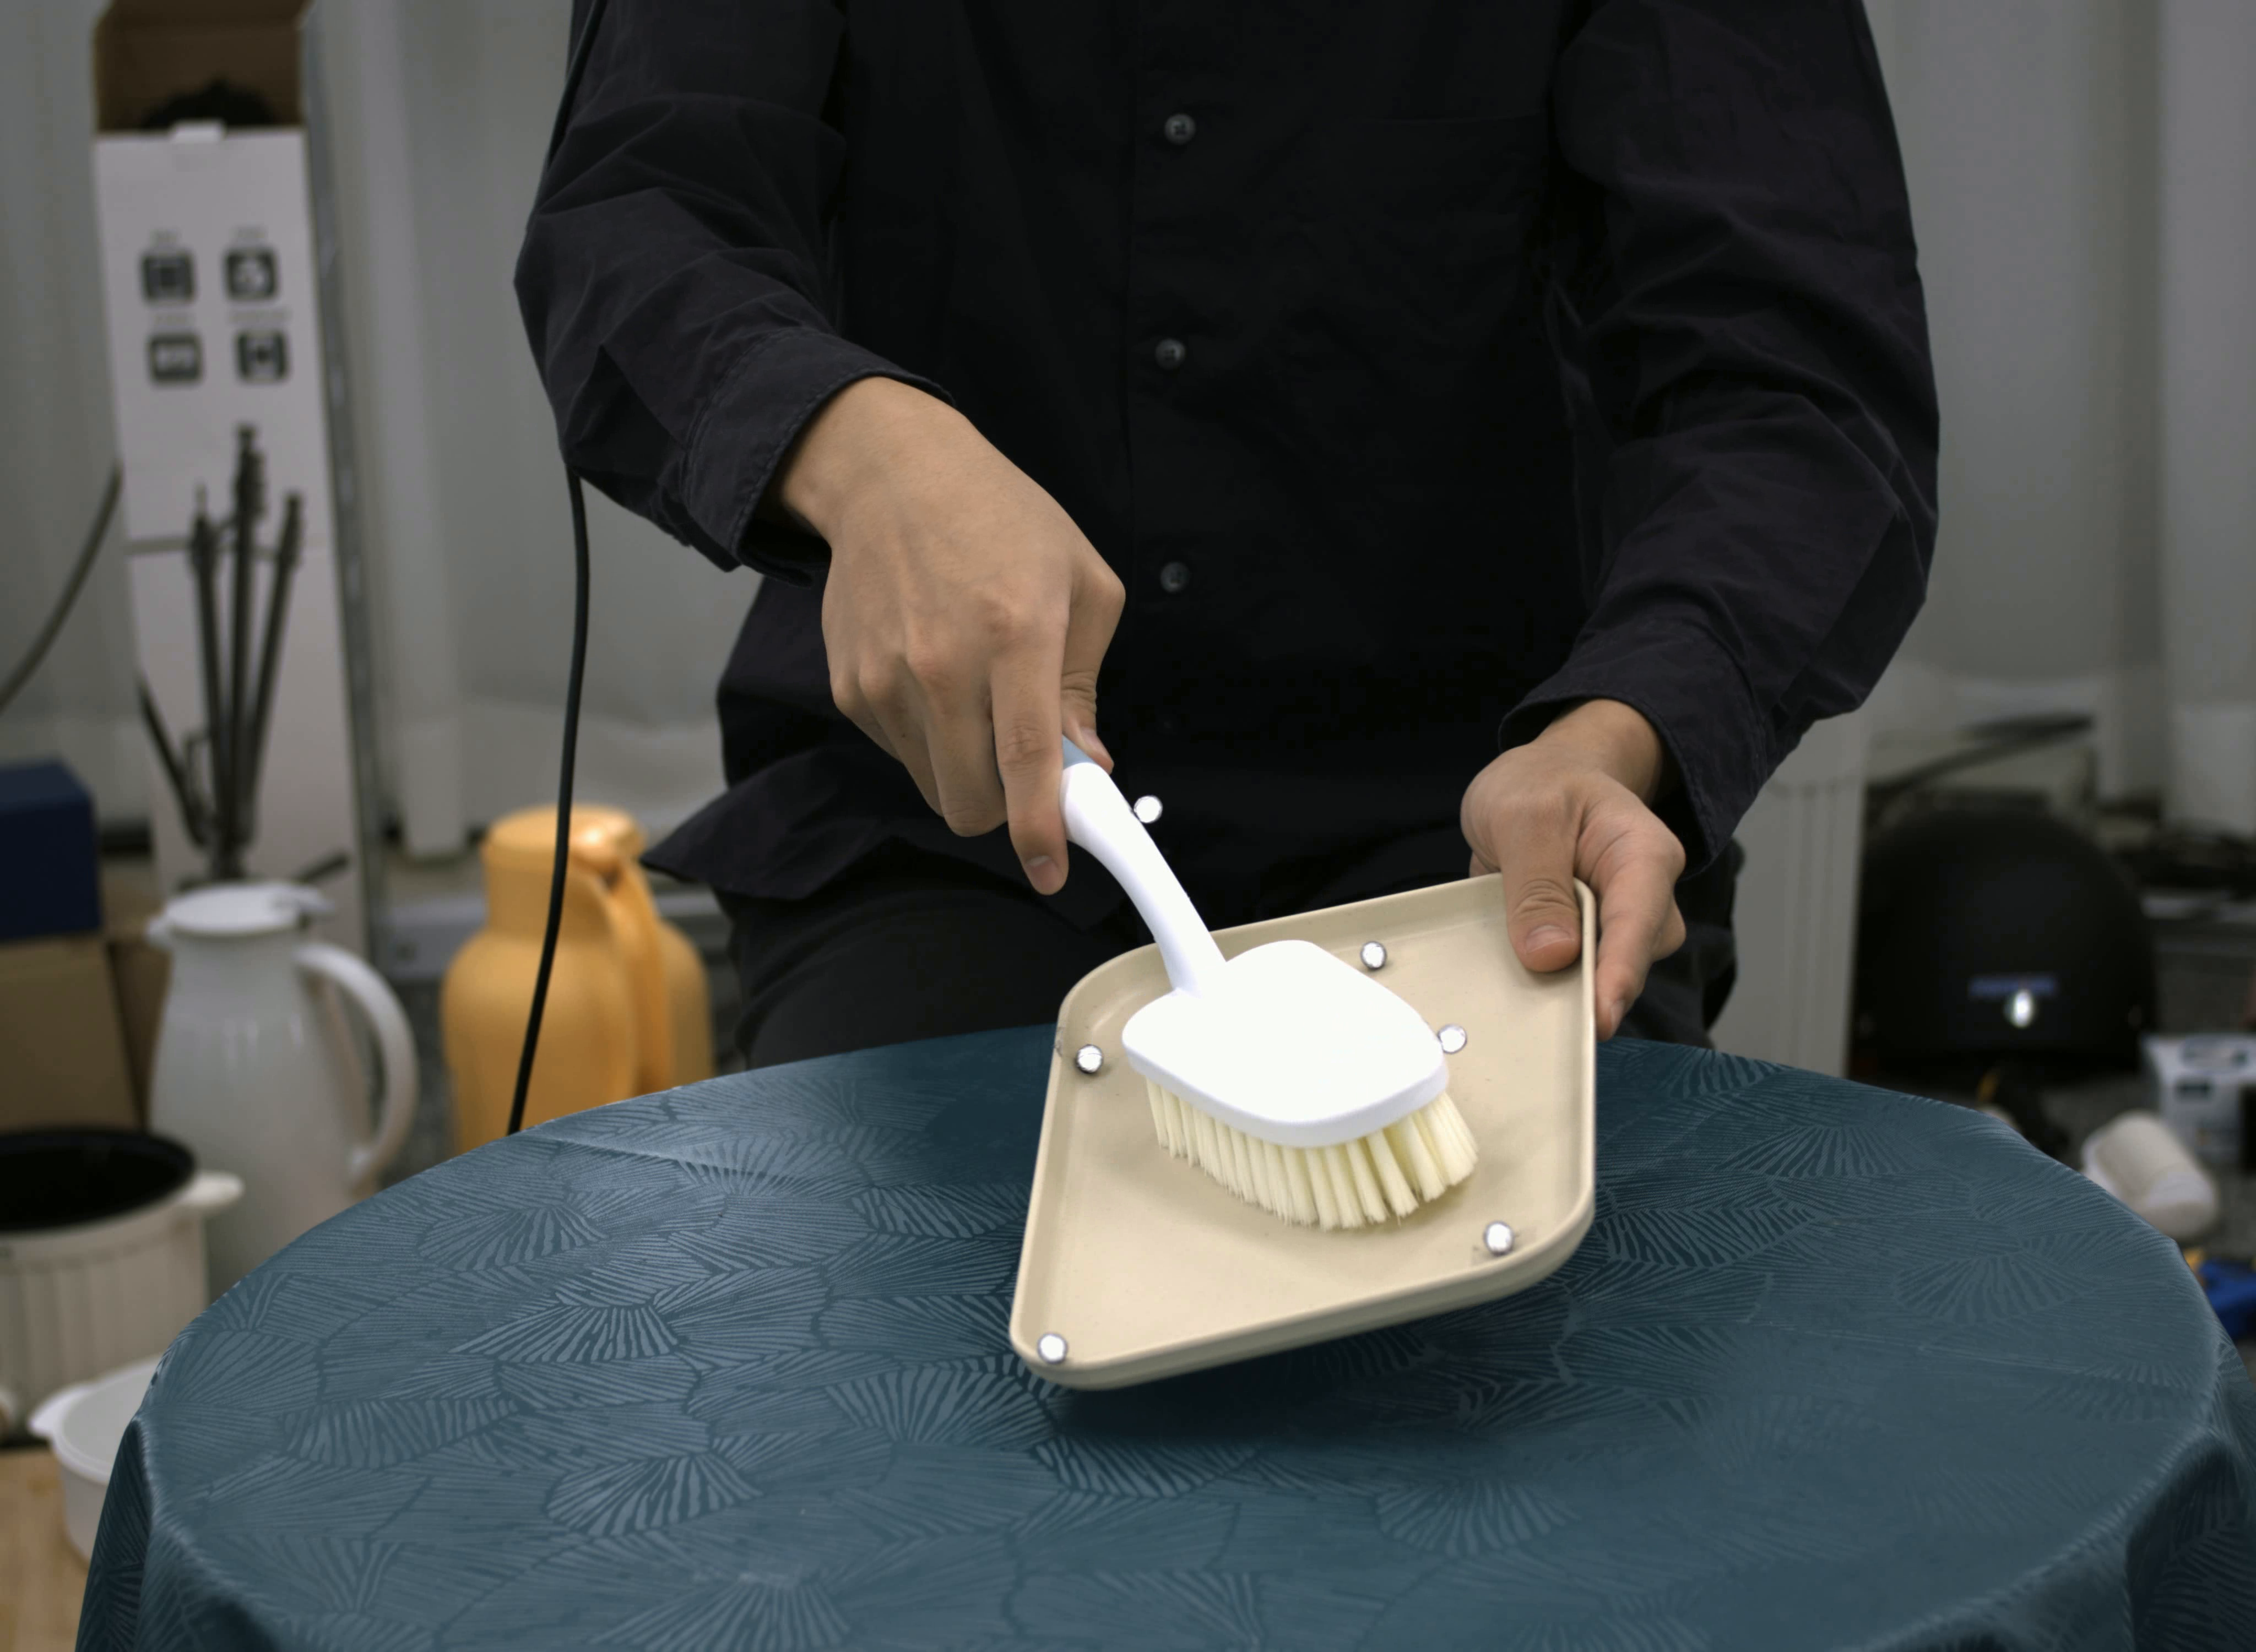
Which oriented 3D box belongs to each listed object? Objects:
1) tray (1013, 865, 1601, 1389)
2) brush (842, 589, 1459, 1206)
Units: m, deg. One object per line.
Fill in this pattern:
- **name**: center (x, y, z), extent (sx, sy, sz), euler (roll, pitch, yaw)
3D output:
- **tray**: center (0.056, 0.086, 1.597), extent (0.171, 0.017, 0.242), euler (-13, 25, 11)
- **brush**: center (0.005, 0.028, 1.666), extent (0.082, 0.084, 0.329), euler (11, 20, -37)
